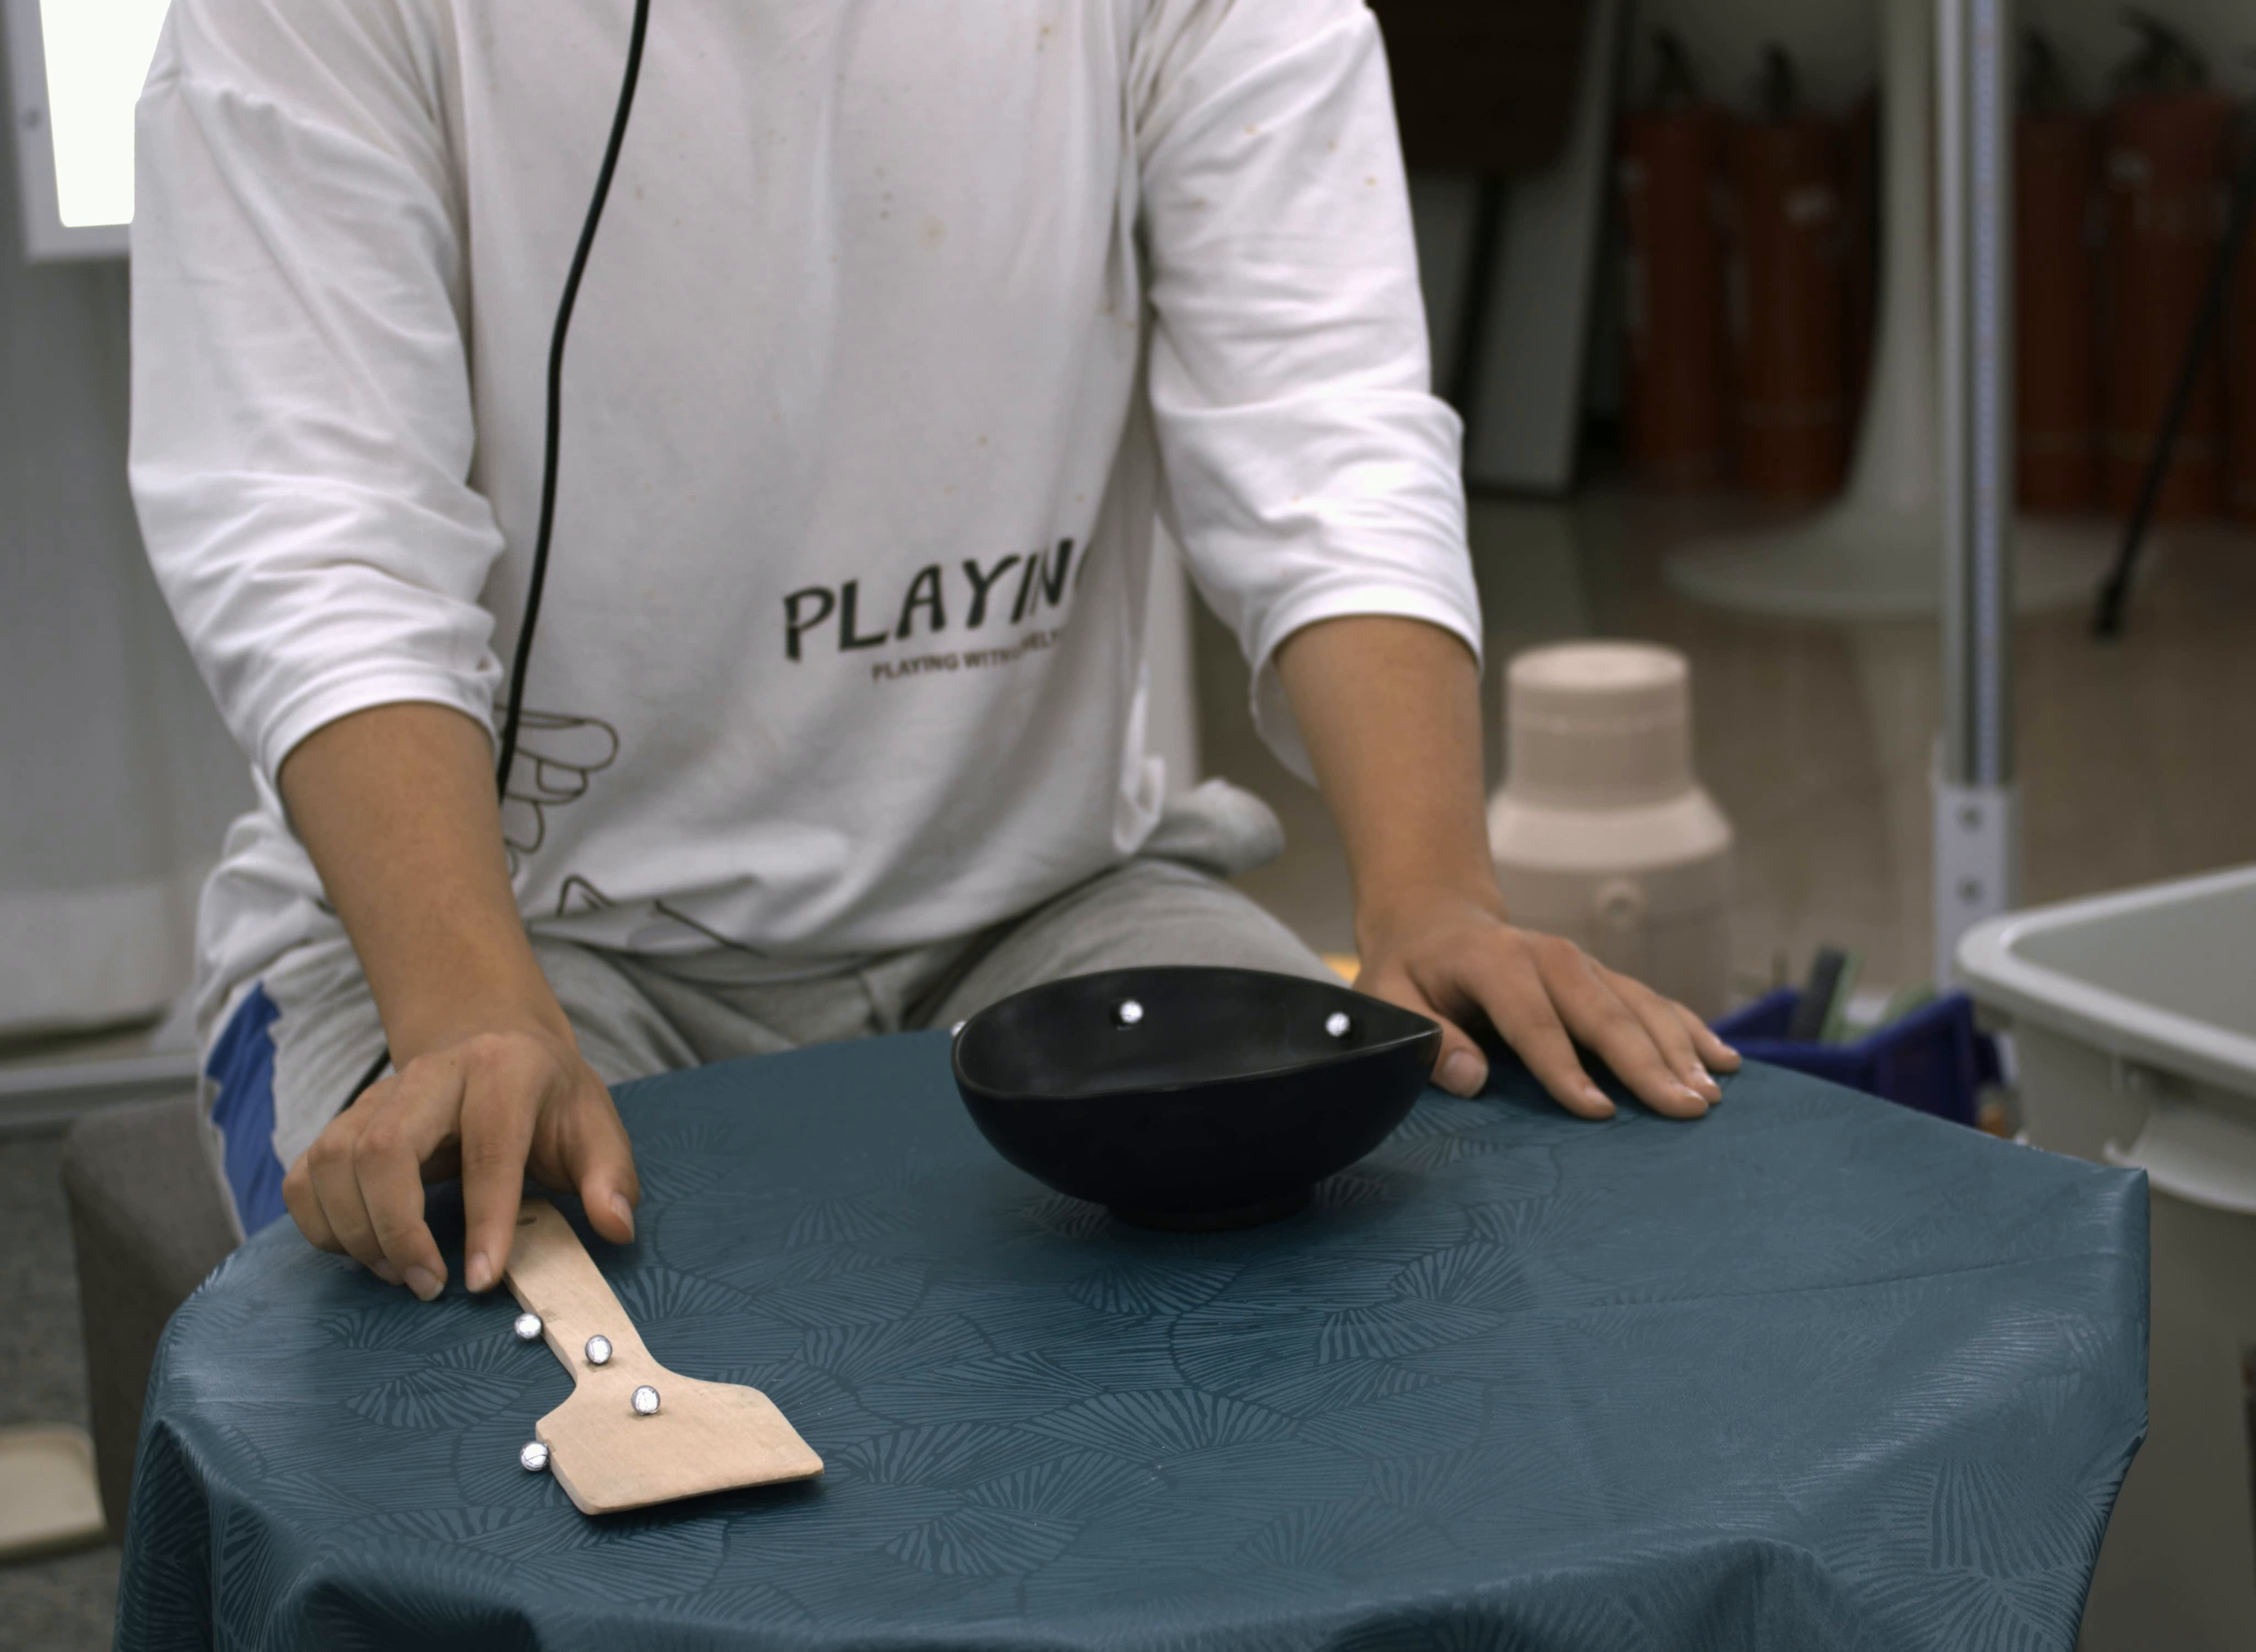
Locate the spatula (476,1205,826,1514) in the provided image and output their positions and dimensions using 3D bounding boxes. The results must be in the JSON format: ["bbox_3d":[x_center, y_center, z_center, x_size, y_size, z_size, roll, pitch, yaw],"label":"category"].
[{"bbox_3d":[-0.160,0.159,1.645,0.071,0.011,0.295,-9,14,-16],"label":"spatula"}]

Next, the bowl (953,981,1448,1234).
[{"bbox_3d":[0.024,0.093,1.751,0.166,0.067,0.139,-9,13,-29],"label":"bowl"}]
